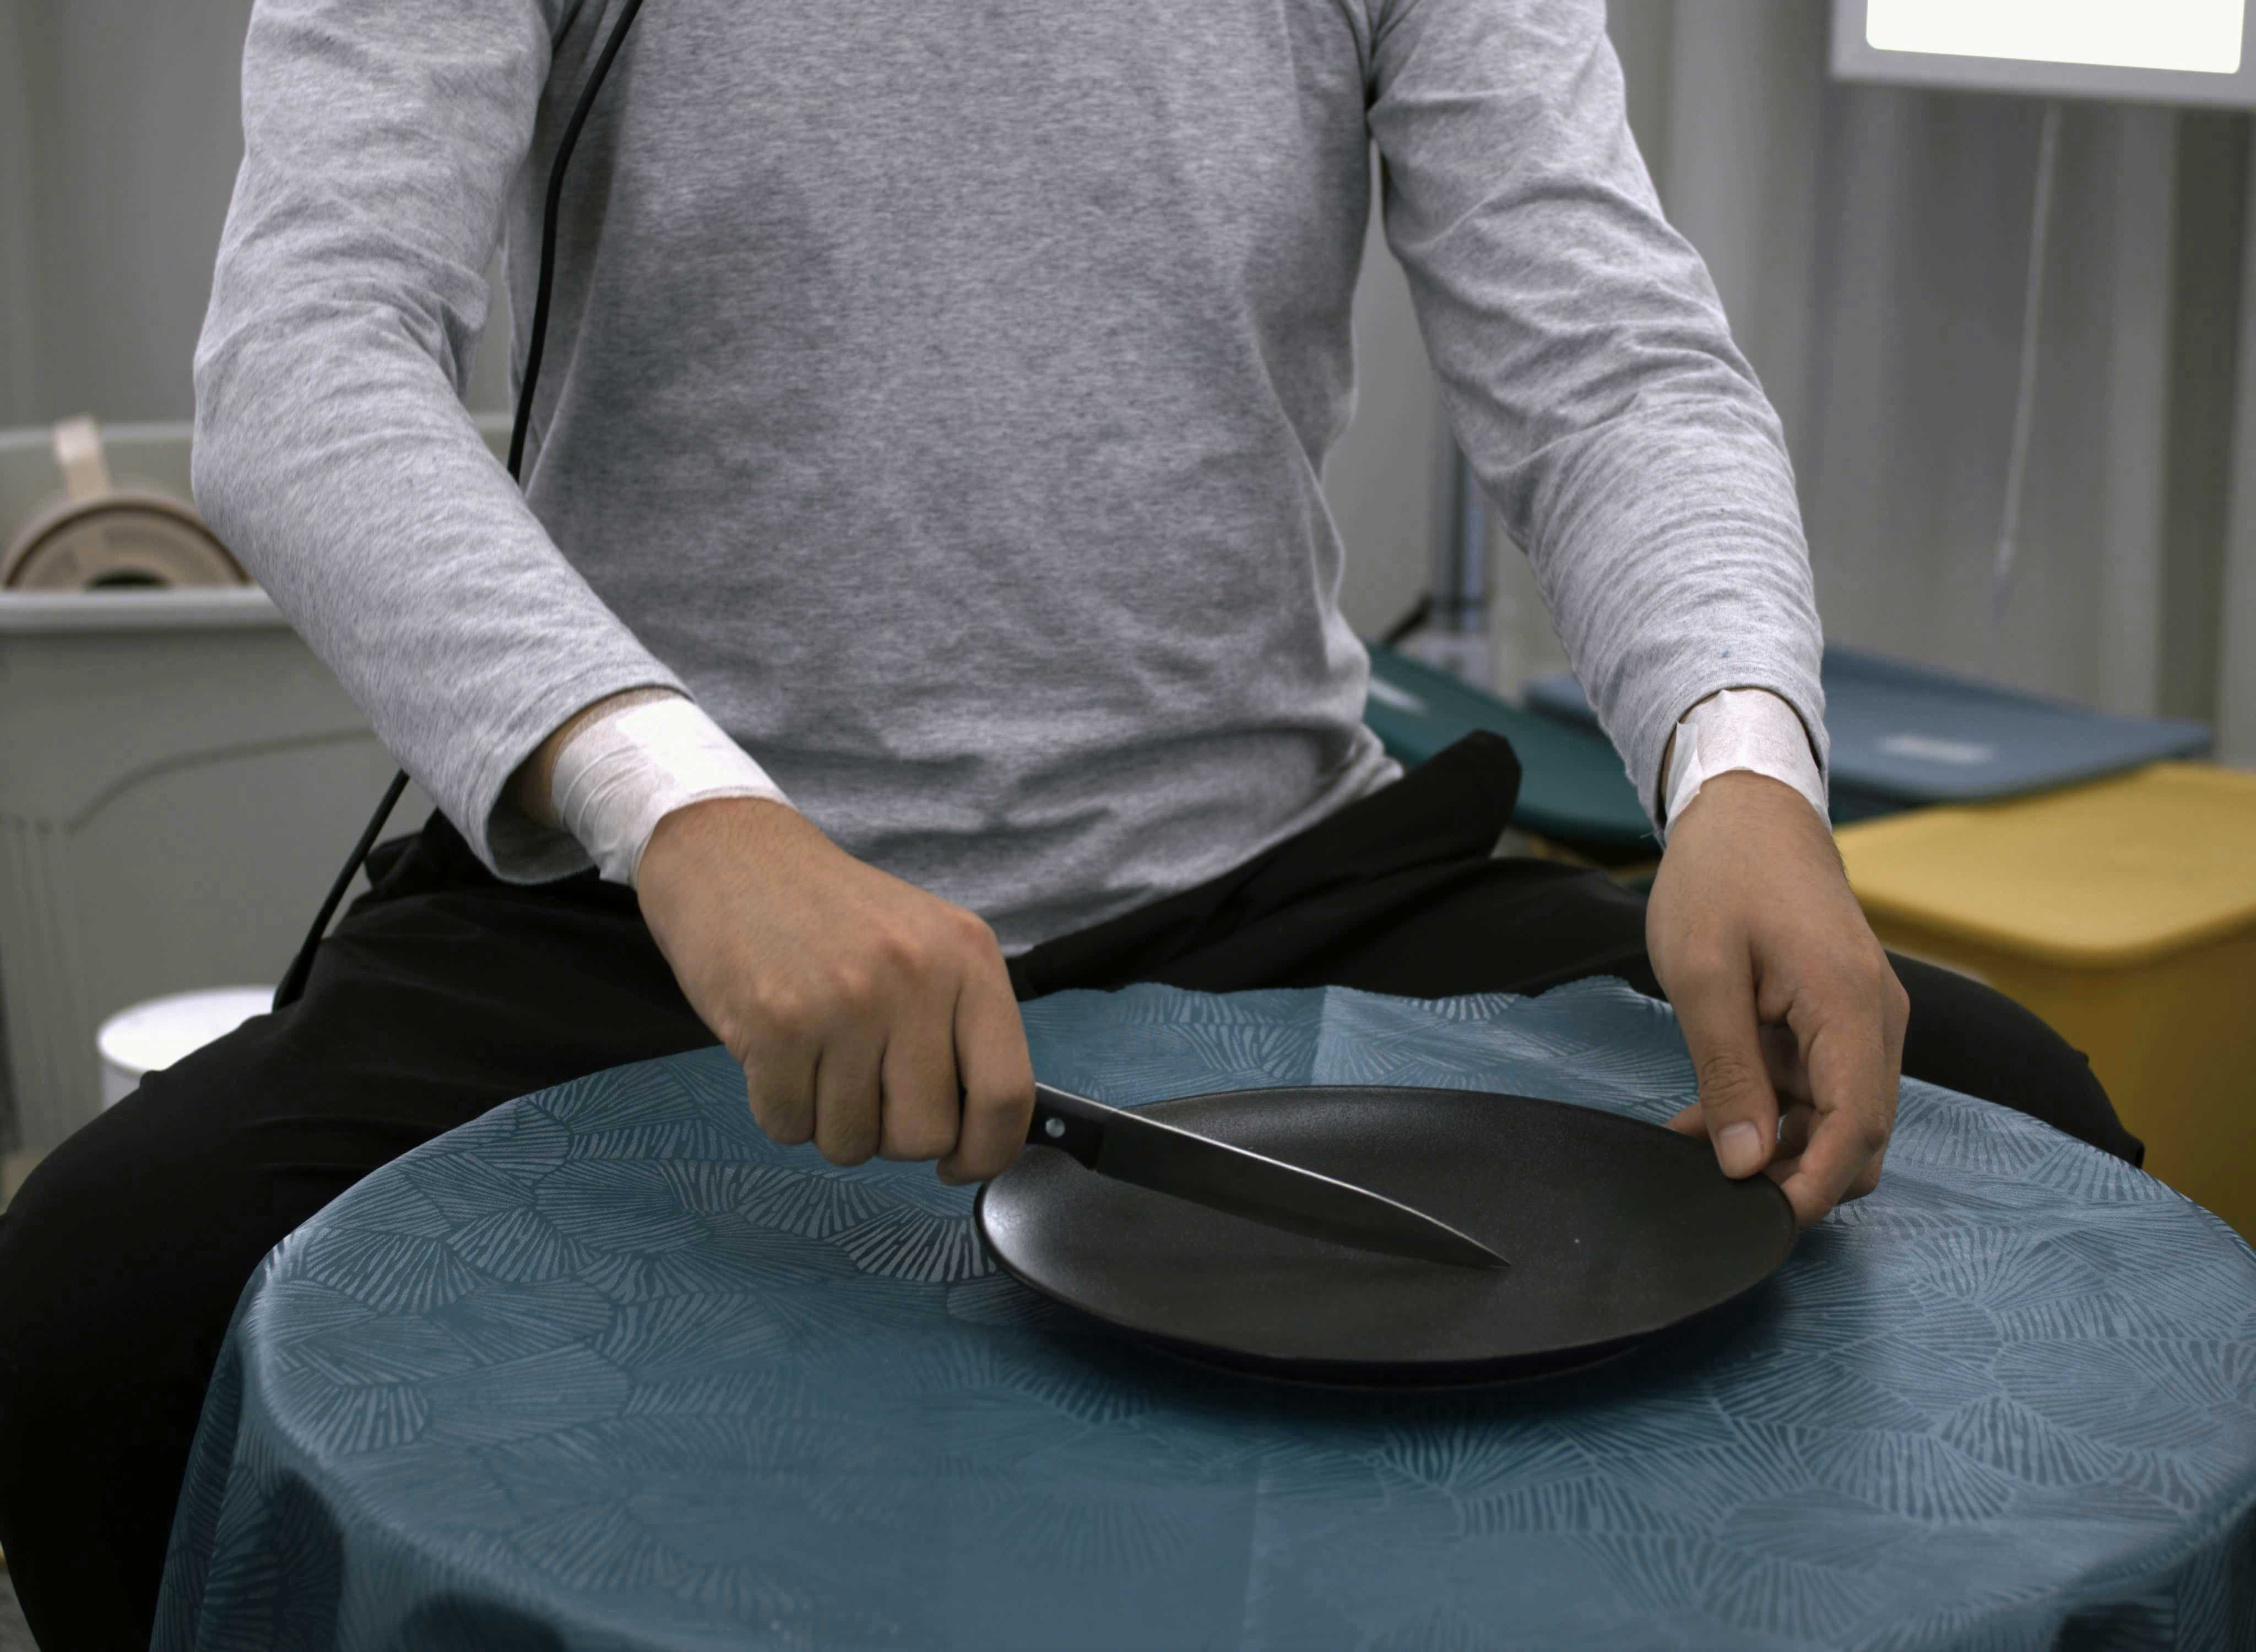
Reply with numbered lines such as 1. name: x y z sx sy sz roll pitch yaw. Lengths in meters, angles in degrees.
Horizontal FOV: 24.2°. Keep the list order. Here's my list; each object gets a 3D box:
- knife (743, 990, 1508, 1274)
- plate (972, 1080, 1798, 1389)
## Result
1. knife: 0.001 0.092 1.544 0.237 0.024 0.016 19 23 4
2. plate: 0.075 0.122 1.548 0.243 0.023 0.243 1 16 0
